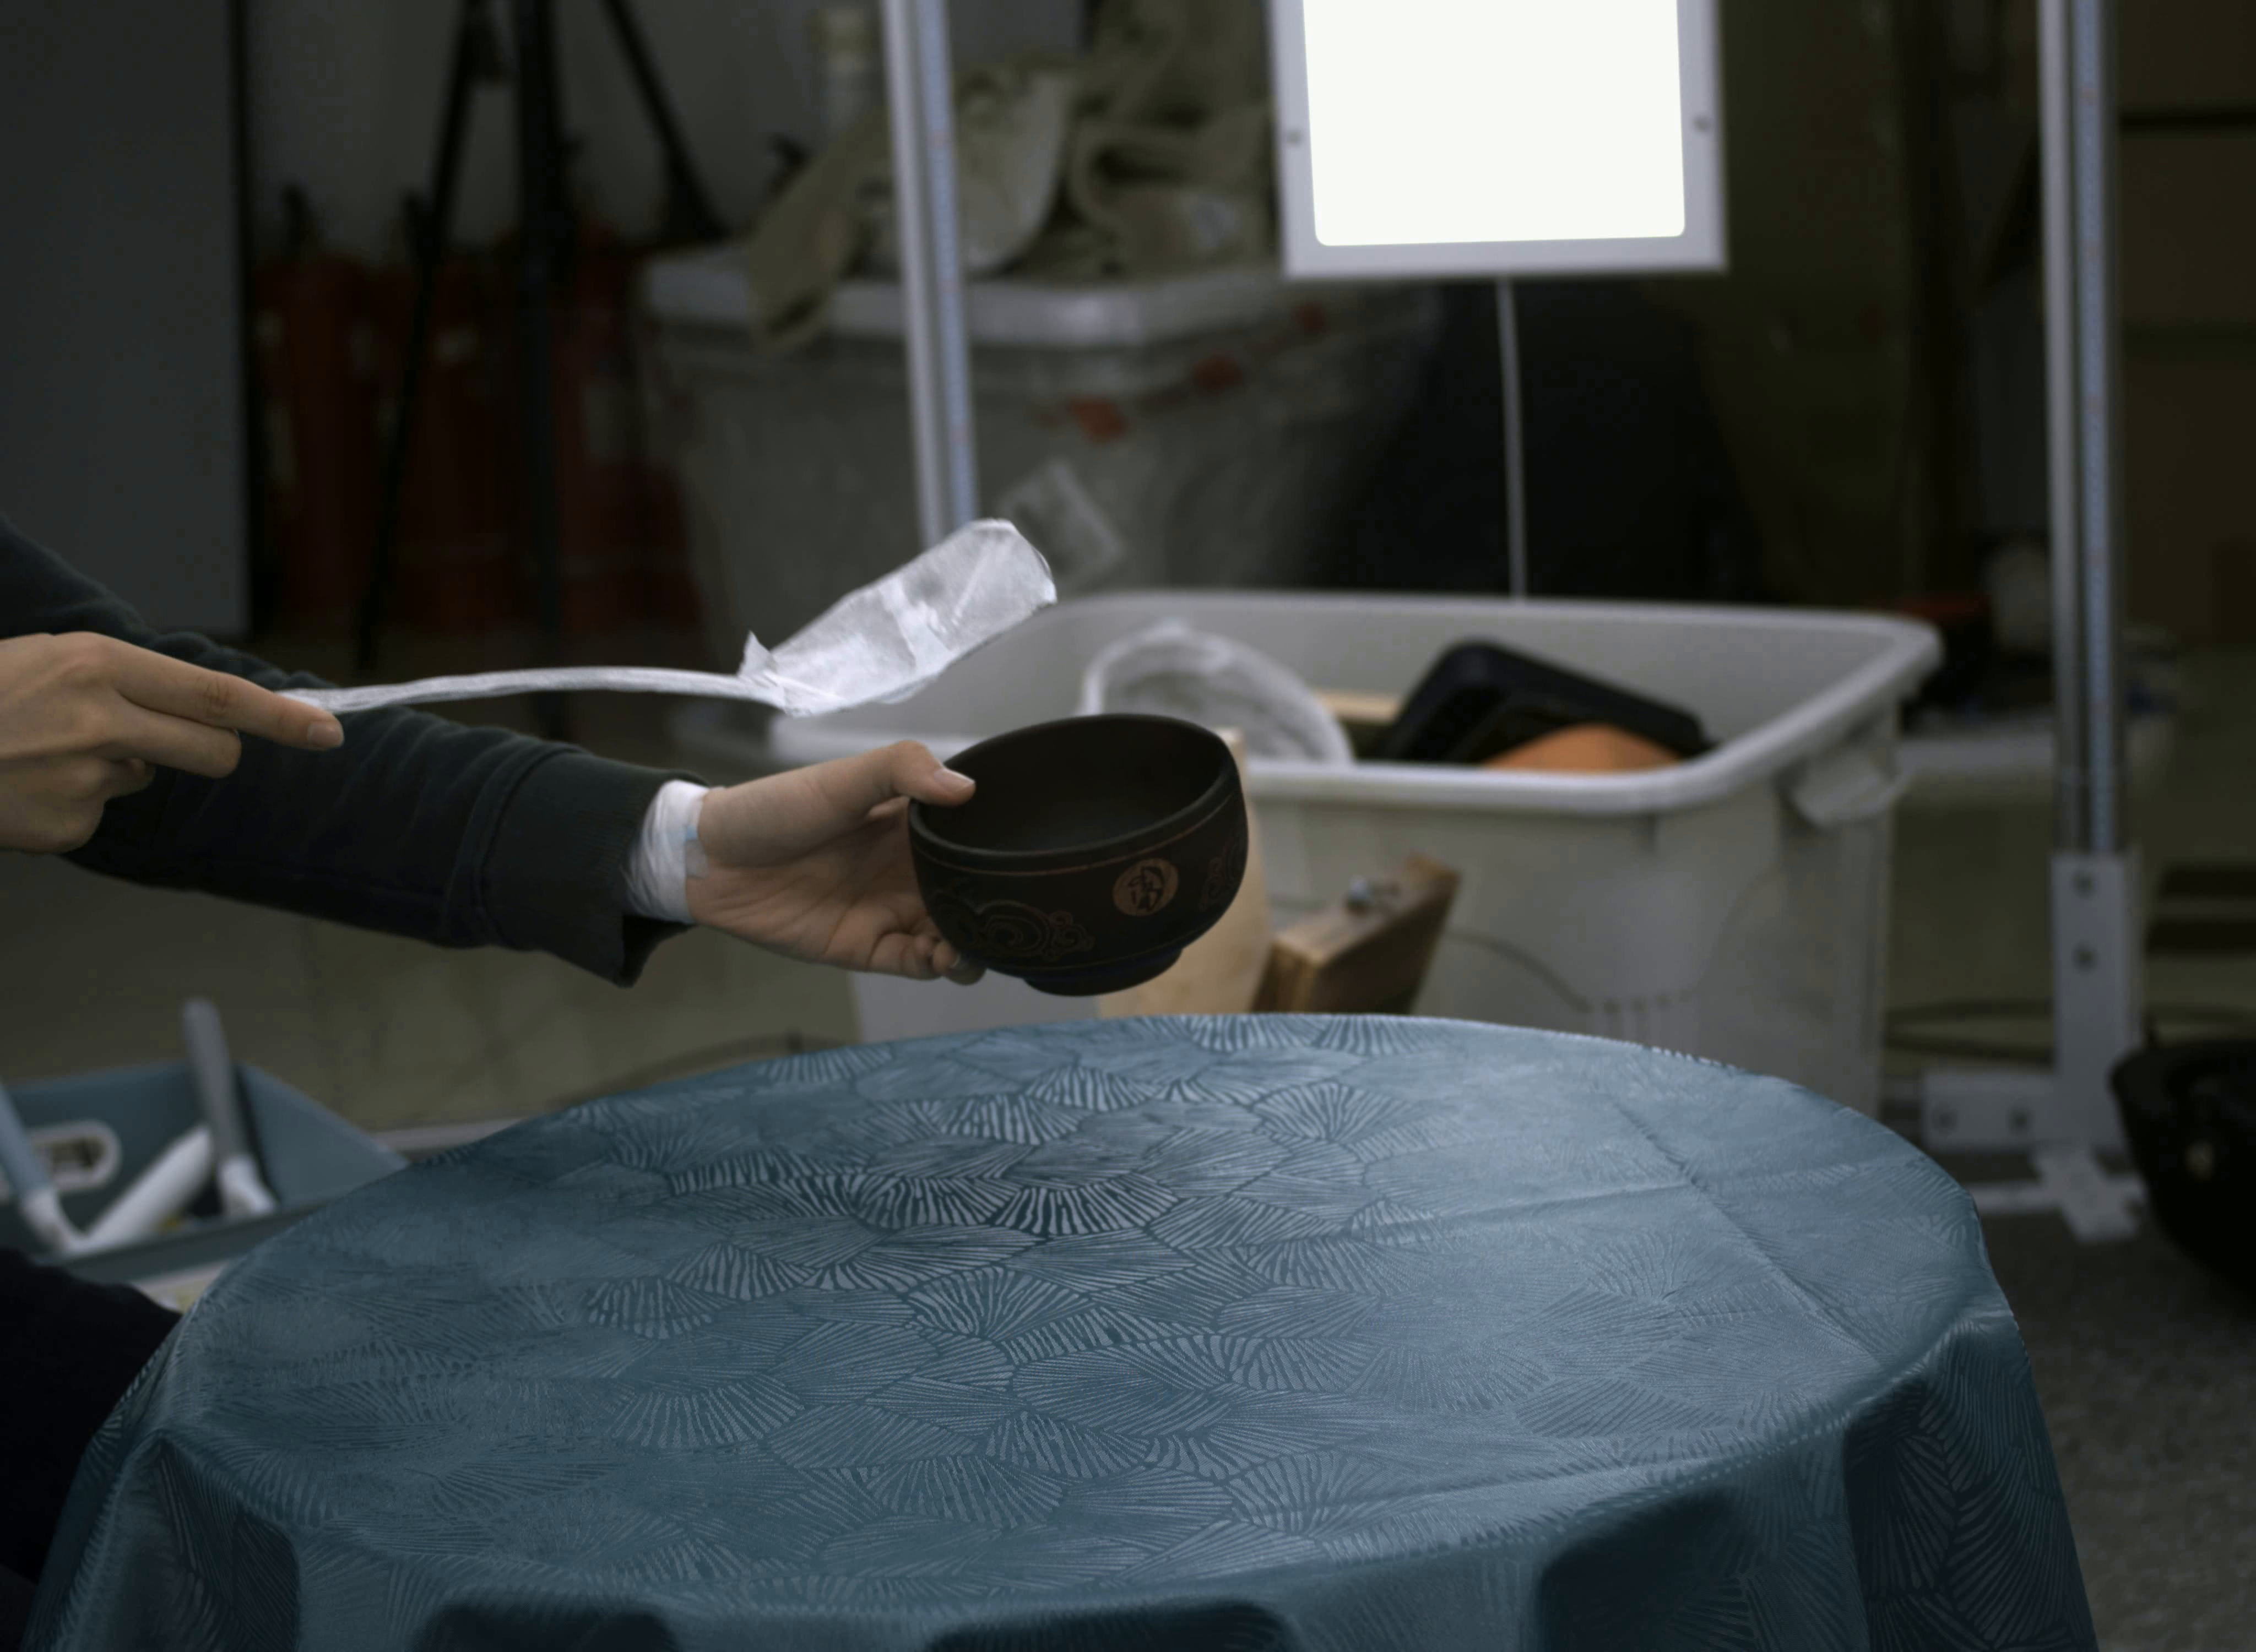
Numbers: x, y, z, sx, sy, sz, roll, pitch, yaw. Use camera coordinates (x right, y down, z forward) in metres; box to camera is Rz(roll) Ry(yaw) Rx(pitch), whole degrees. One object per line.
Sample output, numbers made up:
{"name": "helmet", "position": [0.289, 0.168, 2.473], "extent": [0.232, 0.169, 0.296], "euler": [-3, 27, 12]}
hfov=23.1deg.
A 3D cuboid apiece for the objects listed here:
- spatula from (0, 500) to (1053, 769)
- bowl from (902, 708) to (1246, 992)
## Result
{"name": "spatula", "position": [-0.203, -0.053, 1.779], "extent": [0.362, 0.045, 0.099], "euler": [-6, 25, -6]}
{"name": "bowl", "position": [-0.015, 0.014, 1.889], "extent": [0.118, 0.070, 0.118], "euler": [-10, 23, 3]}
